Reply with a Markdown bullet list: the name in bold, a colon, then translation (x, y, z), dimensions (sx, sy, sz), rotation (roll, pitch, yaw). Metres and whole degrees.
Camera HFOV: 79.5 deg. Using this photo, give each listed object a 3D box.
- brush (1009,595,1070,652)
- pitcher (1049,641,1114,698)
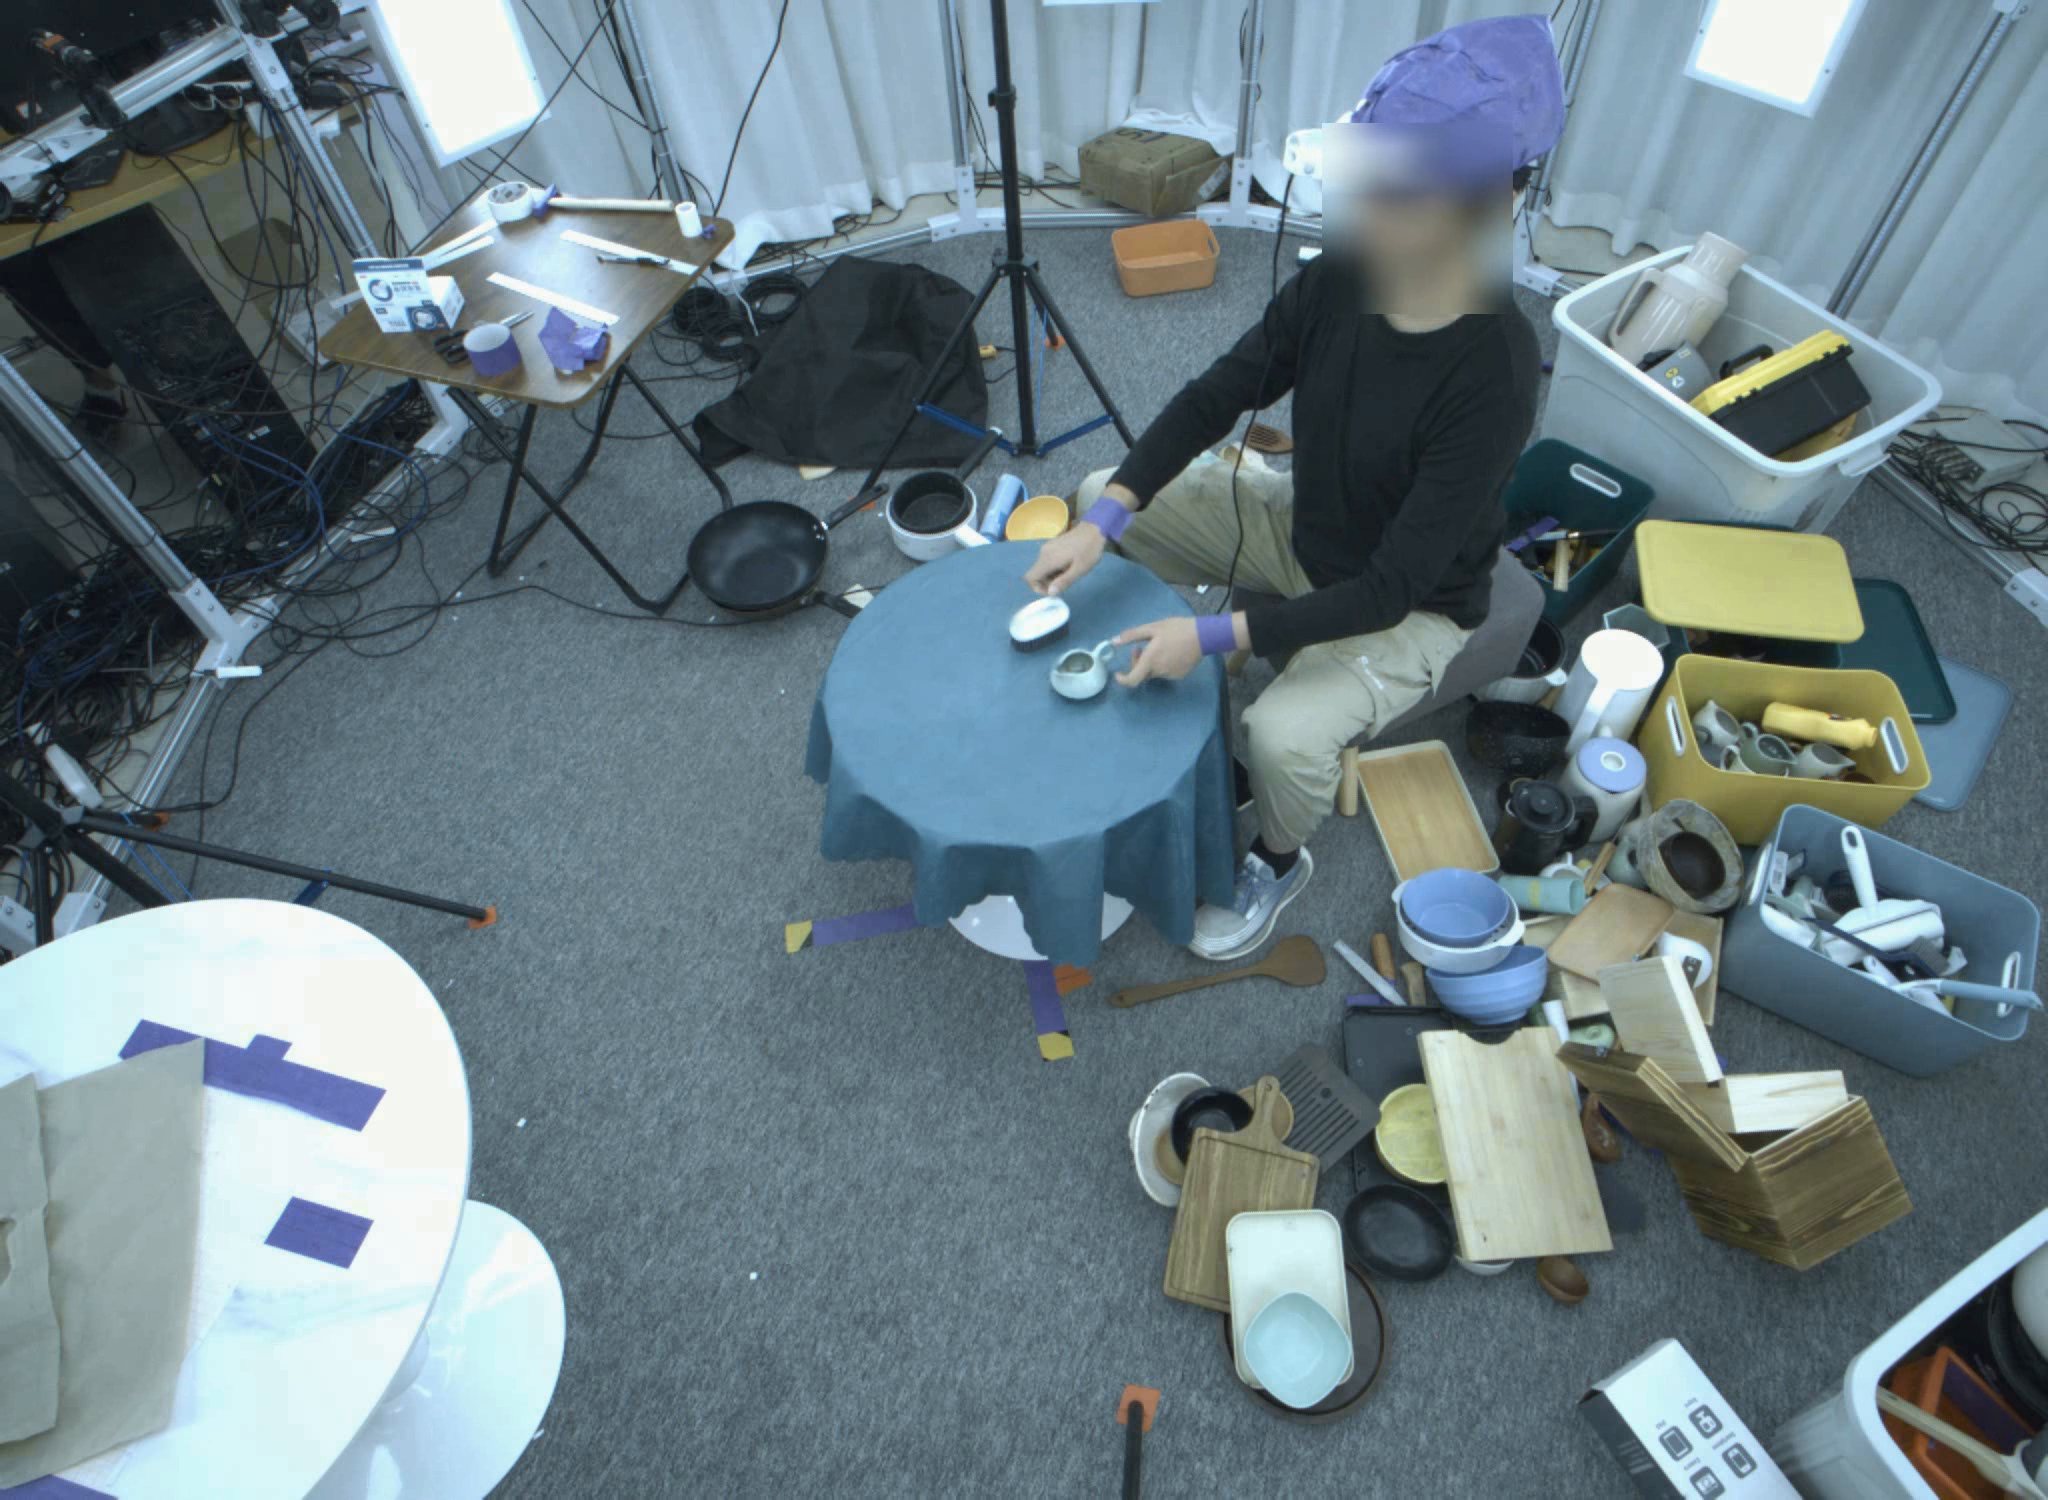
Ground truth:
- **brush**: translation (0.023, -0.202, 1.887), dimensions (0.100, 0.073, 0.049), rotation (-25, 57, -13)
- **pitcher**: translation (0.089, -0.123, 1.840), dimensions (0.109, 0.061, 0.084), rotation (-31, 60, -22)
